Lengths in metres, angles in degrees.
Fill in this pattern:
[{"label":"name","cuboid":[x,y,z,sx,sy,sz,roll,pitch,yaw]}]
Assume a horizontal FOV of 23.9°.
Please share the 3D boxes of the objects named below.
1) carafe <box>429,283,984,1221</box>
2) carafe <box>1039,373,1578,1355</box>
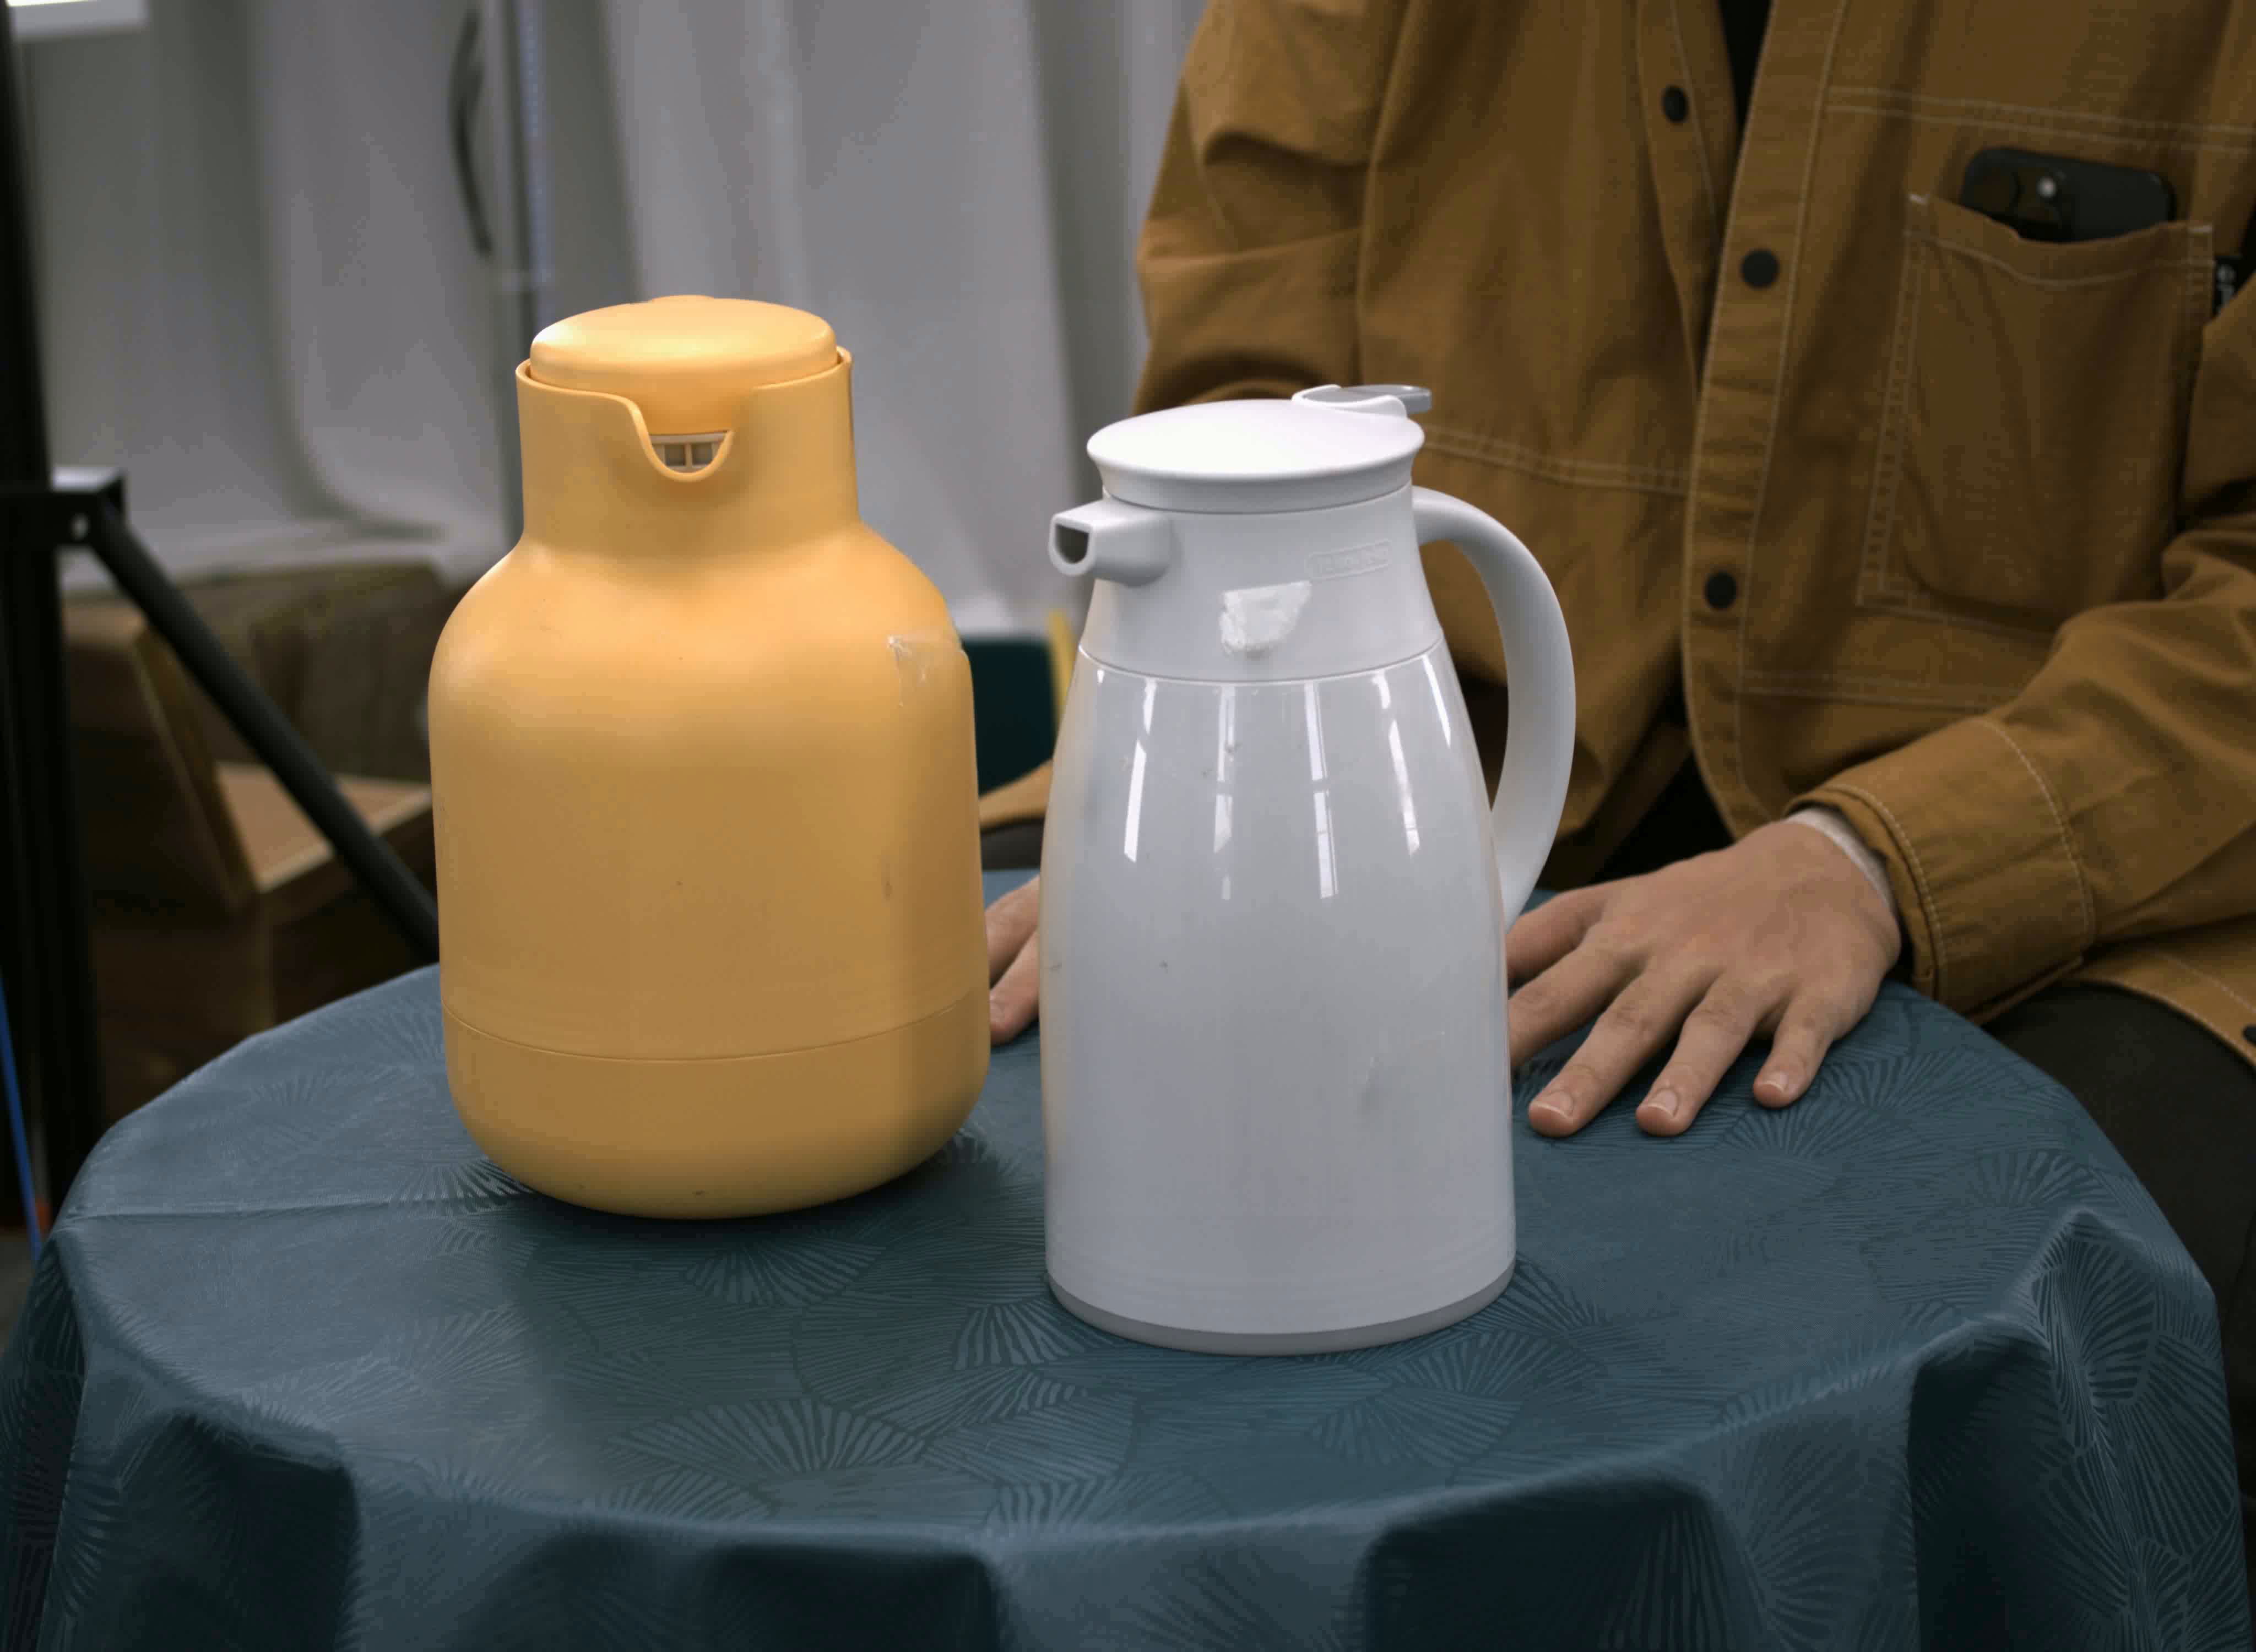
[{"label":"carafe","cuboid":[-0.124,-0.030,1.588,0.162,0.260,0.203,0,16,-2]},{"label":"carafe","cuboid":[0.054,0.002,1.464,0.164,0.248,0.135,-12,18,-33]}]
